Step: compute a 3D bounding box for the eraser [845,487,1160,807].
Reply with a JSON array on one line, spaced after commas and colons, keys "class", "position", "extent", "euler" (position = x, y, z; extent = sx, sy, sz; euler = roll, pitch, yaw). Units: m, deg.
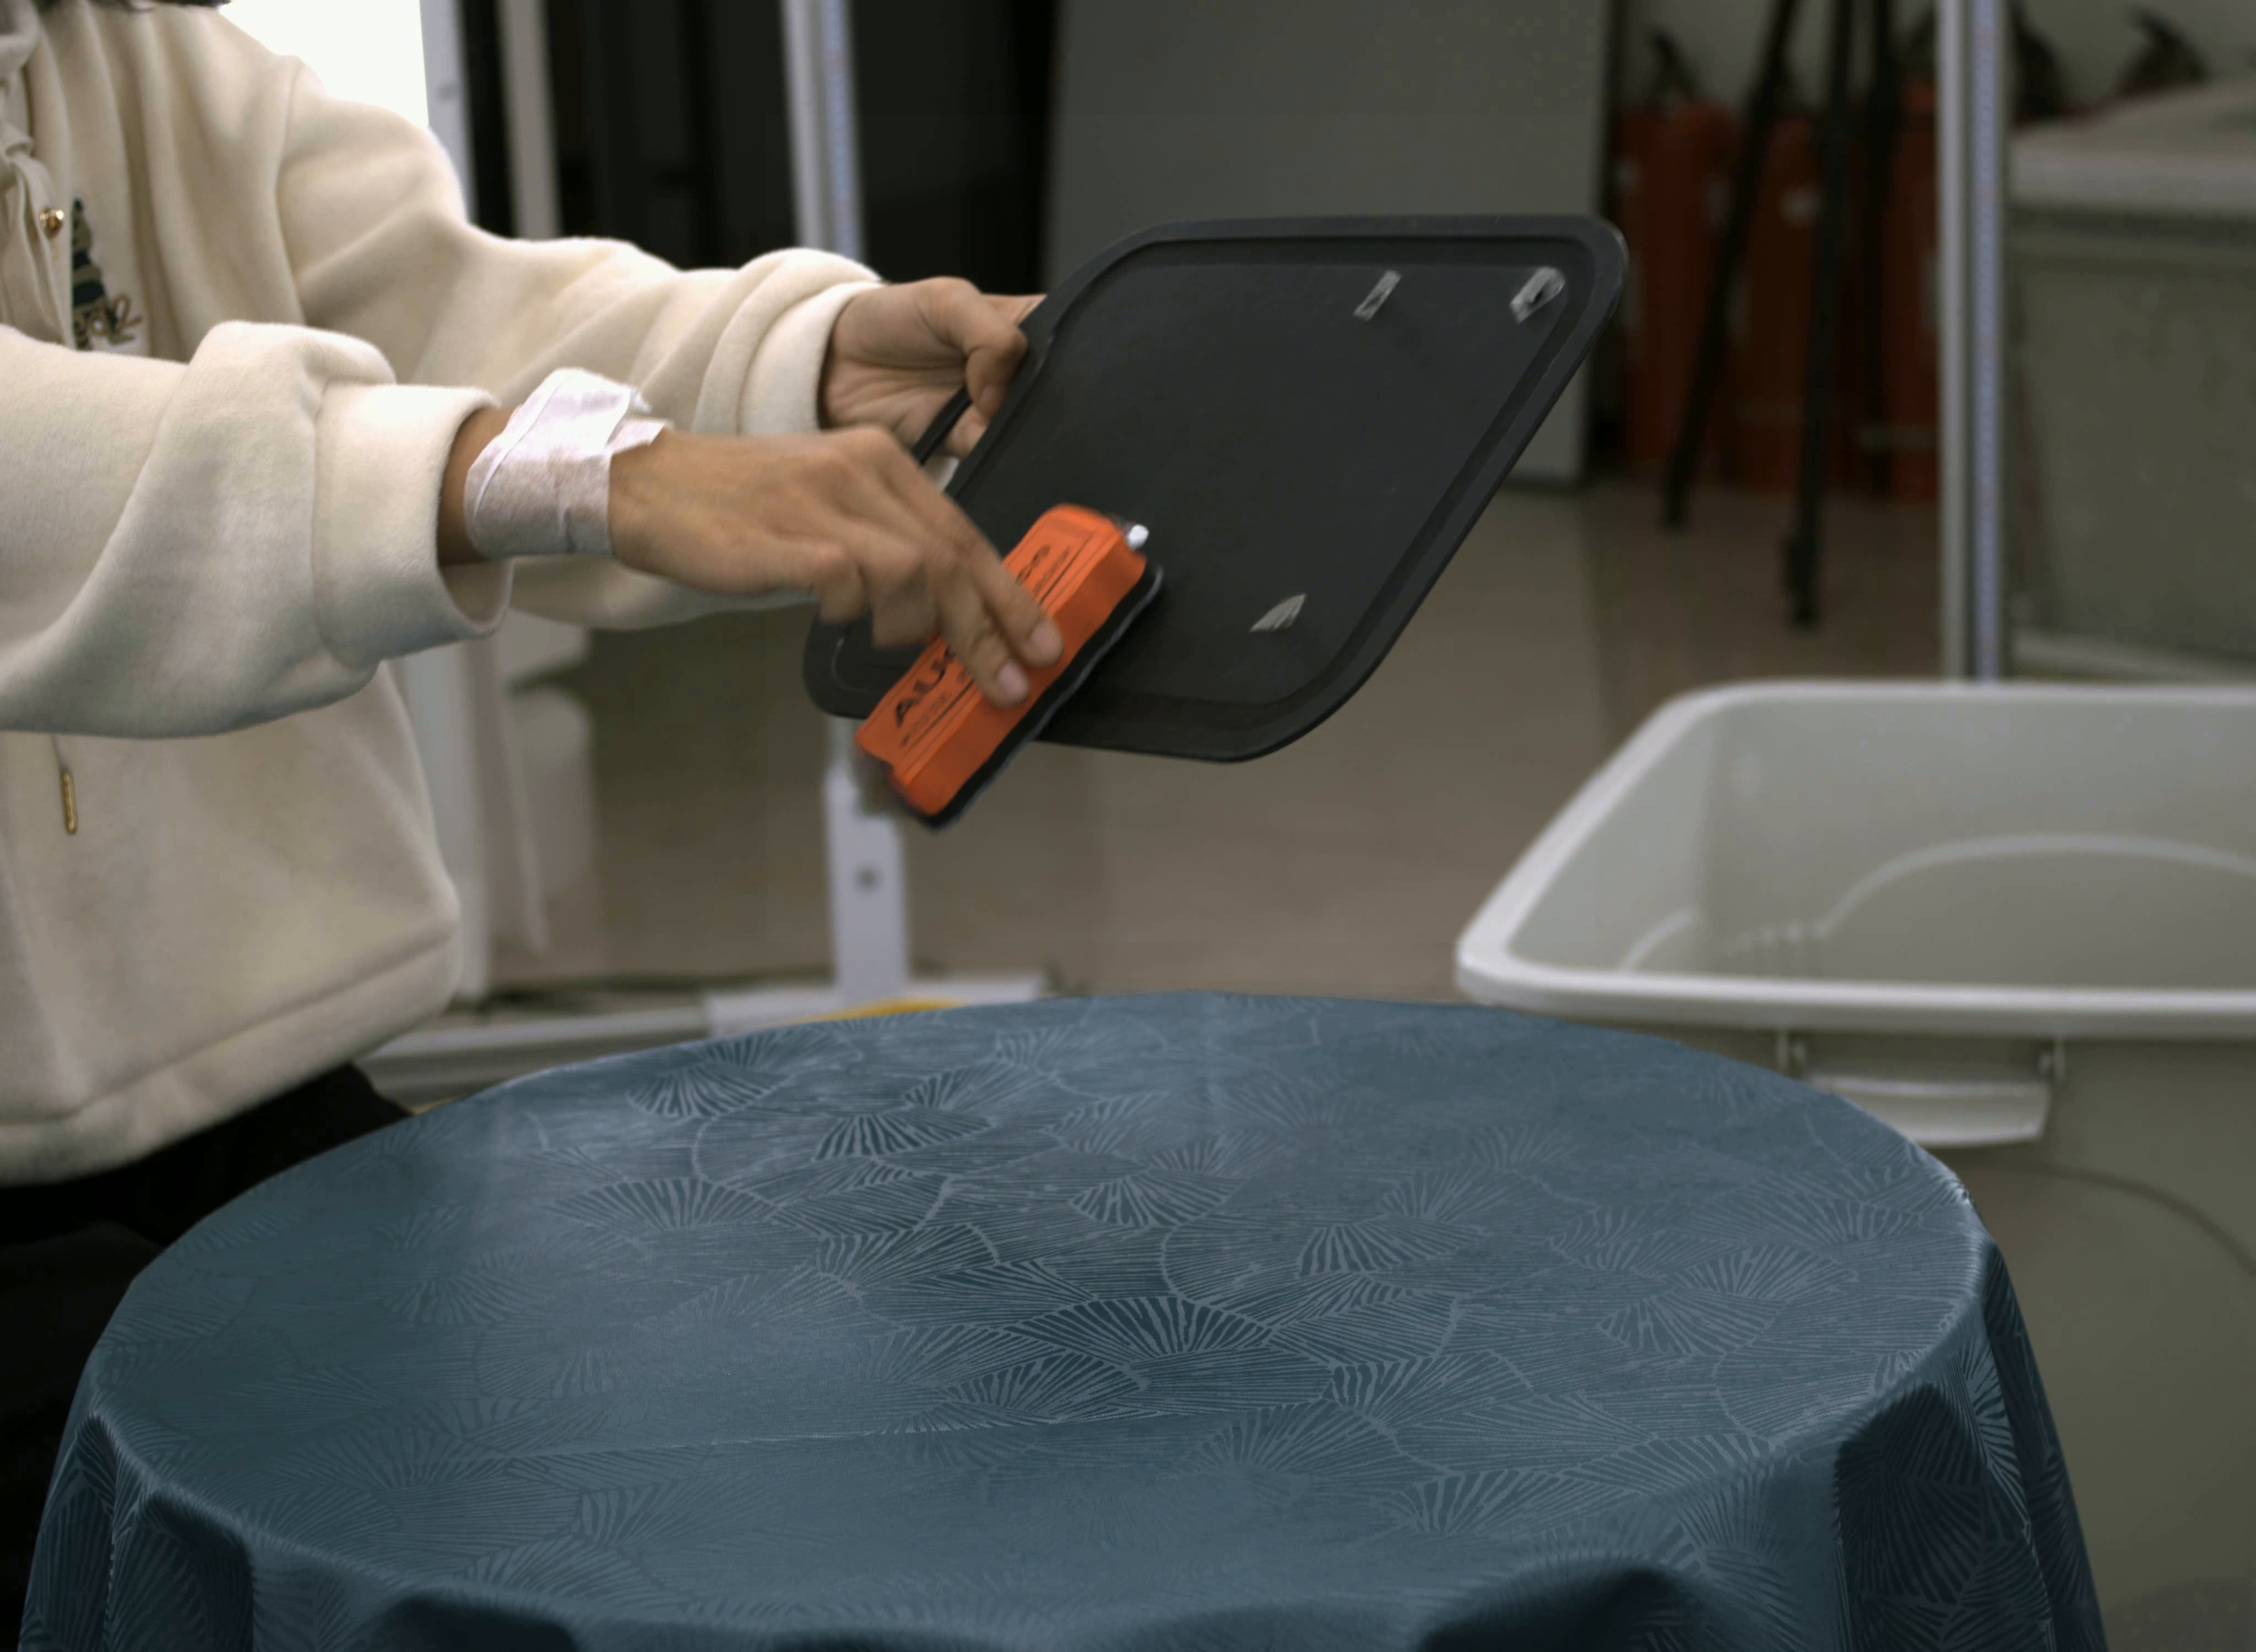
[{"class": "eraser", "position": [-0.039, -0.055, 1.657], "extent": [0.108, 0.022, 0.059], "euler": [-49, 22, -7]}]

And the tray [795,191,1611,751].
[{"class": "tray", "position": [0.011, -0.115, 1.690], "extent": [0.329, 0.009, 0.211], "euler": [8, 60, 56]}]
